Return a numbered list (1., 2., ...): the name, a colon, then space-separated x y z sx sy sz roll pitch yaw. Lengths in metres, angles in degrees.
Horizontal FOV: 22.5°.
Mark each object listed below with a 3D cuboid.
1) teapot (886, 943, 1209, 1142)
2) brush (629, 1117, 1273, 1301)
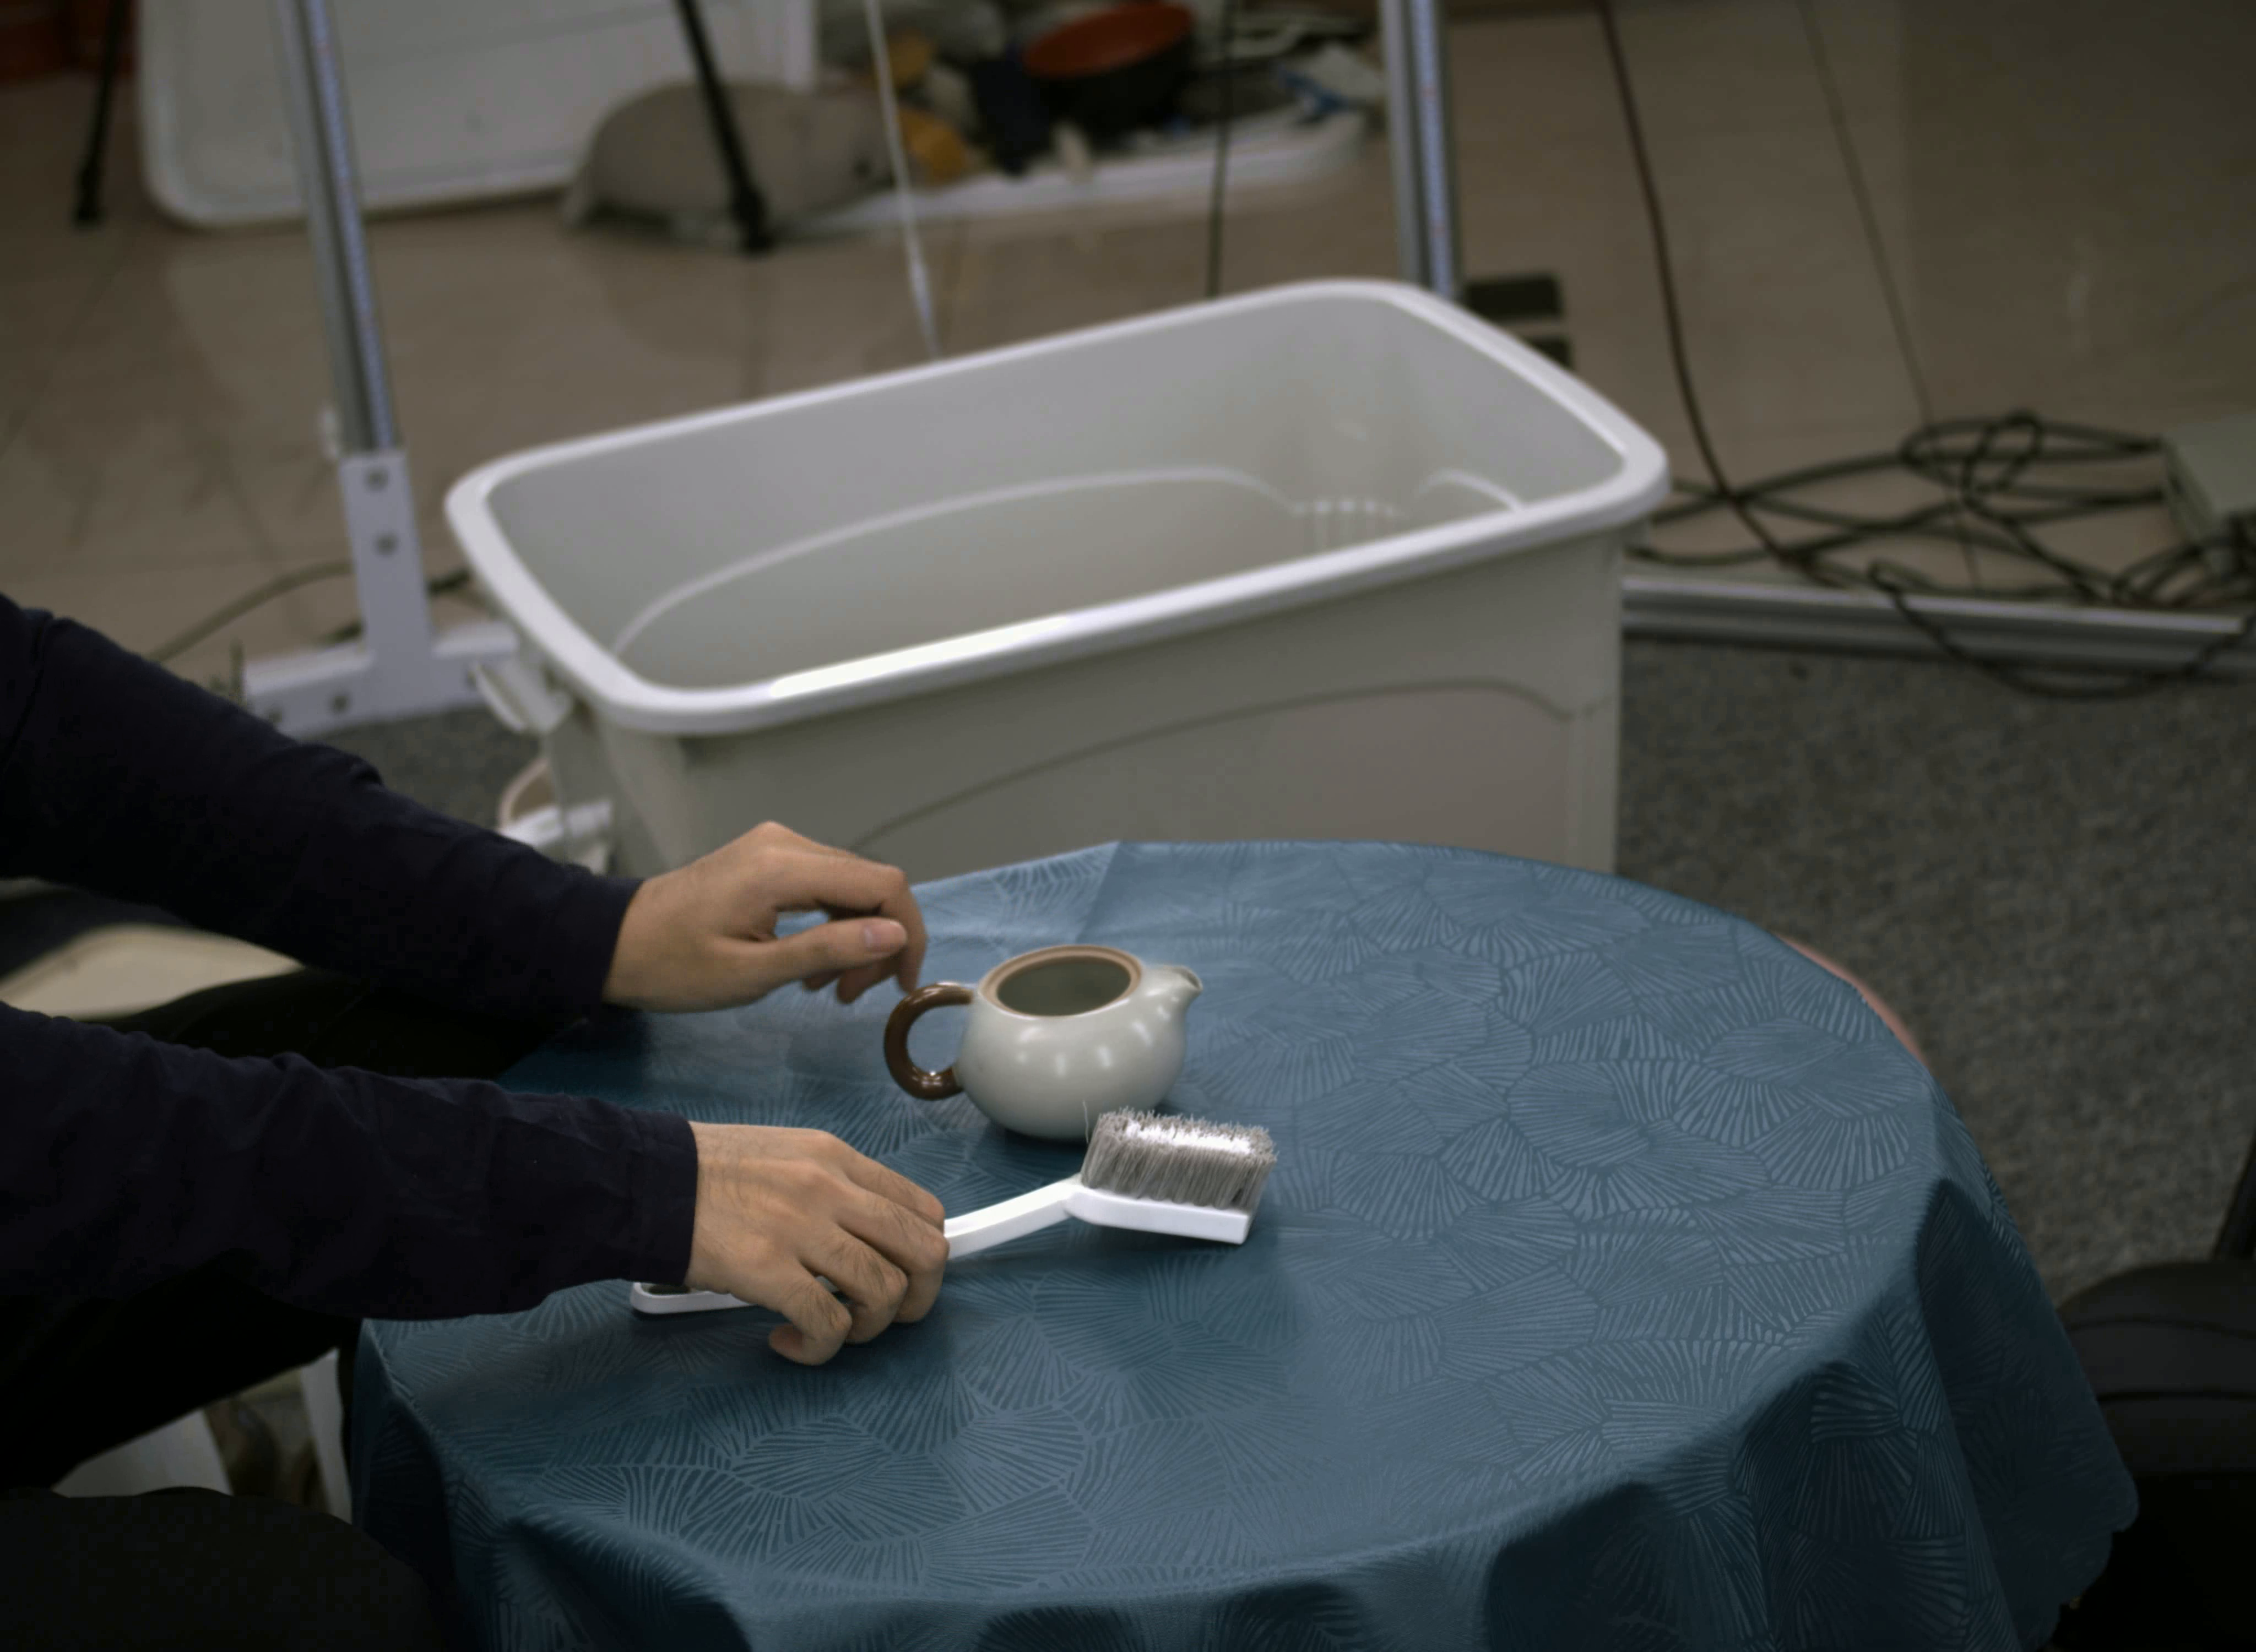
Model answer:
1. teapot: -0.031 0.085 2.204 0.128 0.060 0.090 -2 29 5
2. brush: -0.067 0.141 2.103 0.243 0.051 0.034 -6 30 1
